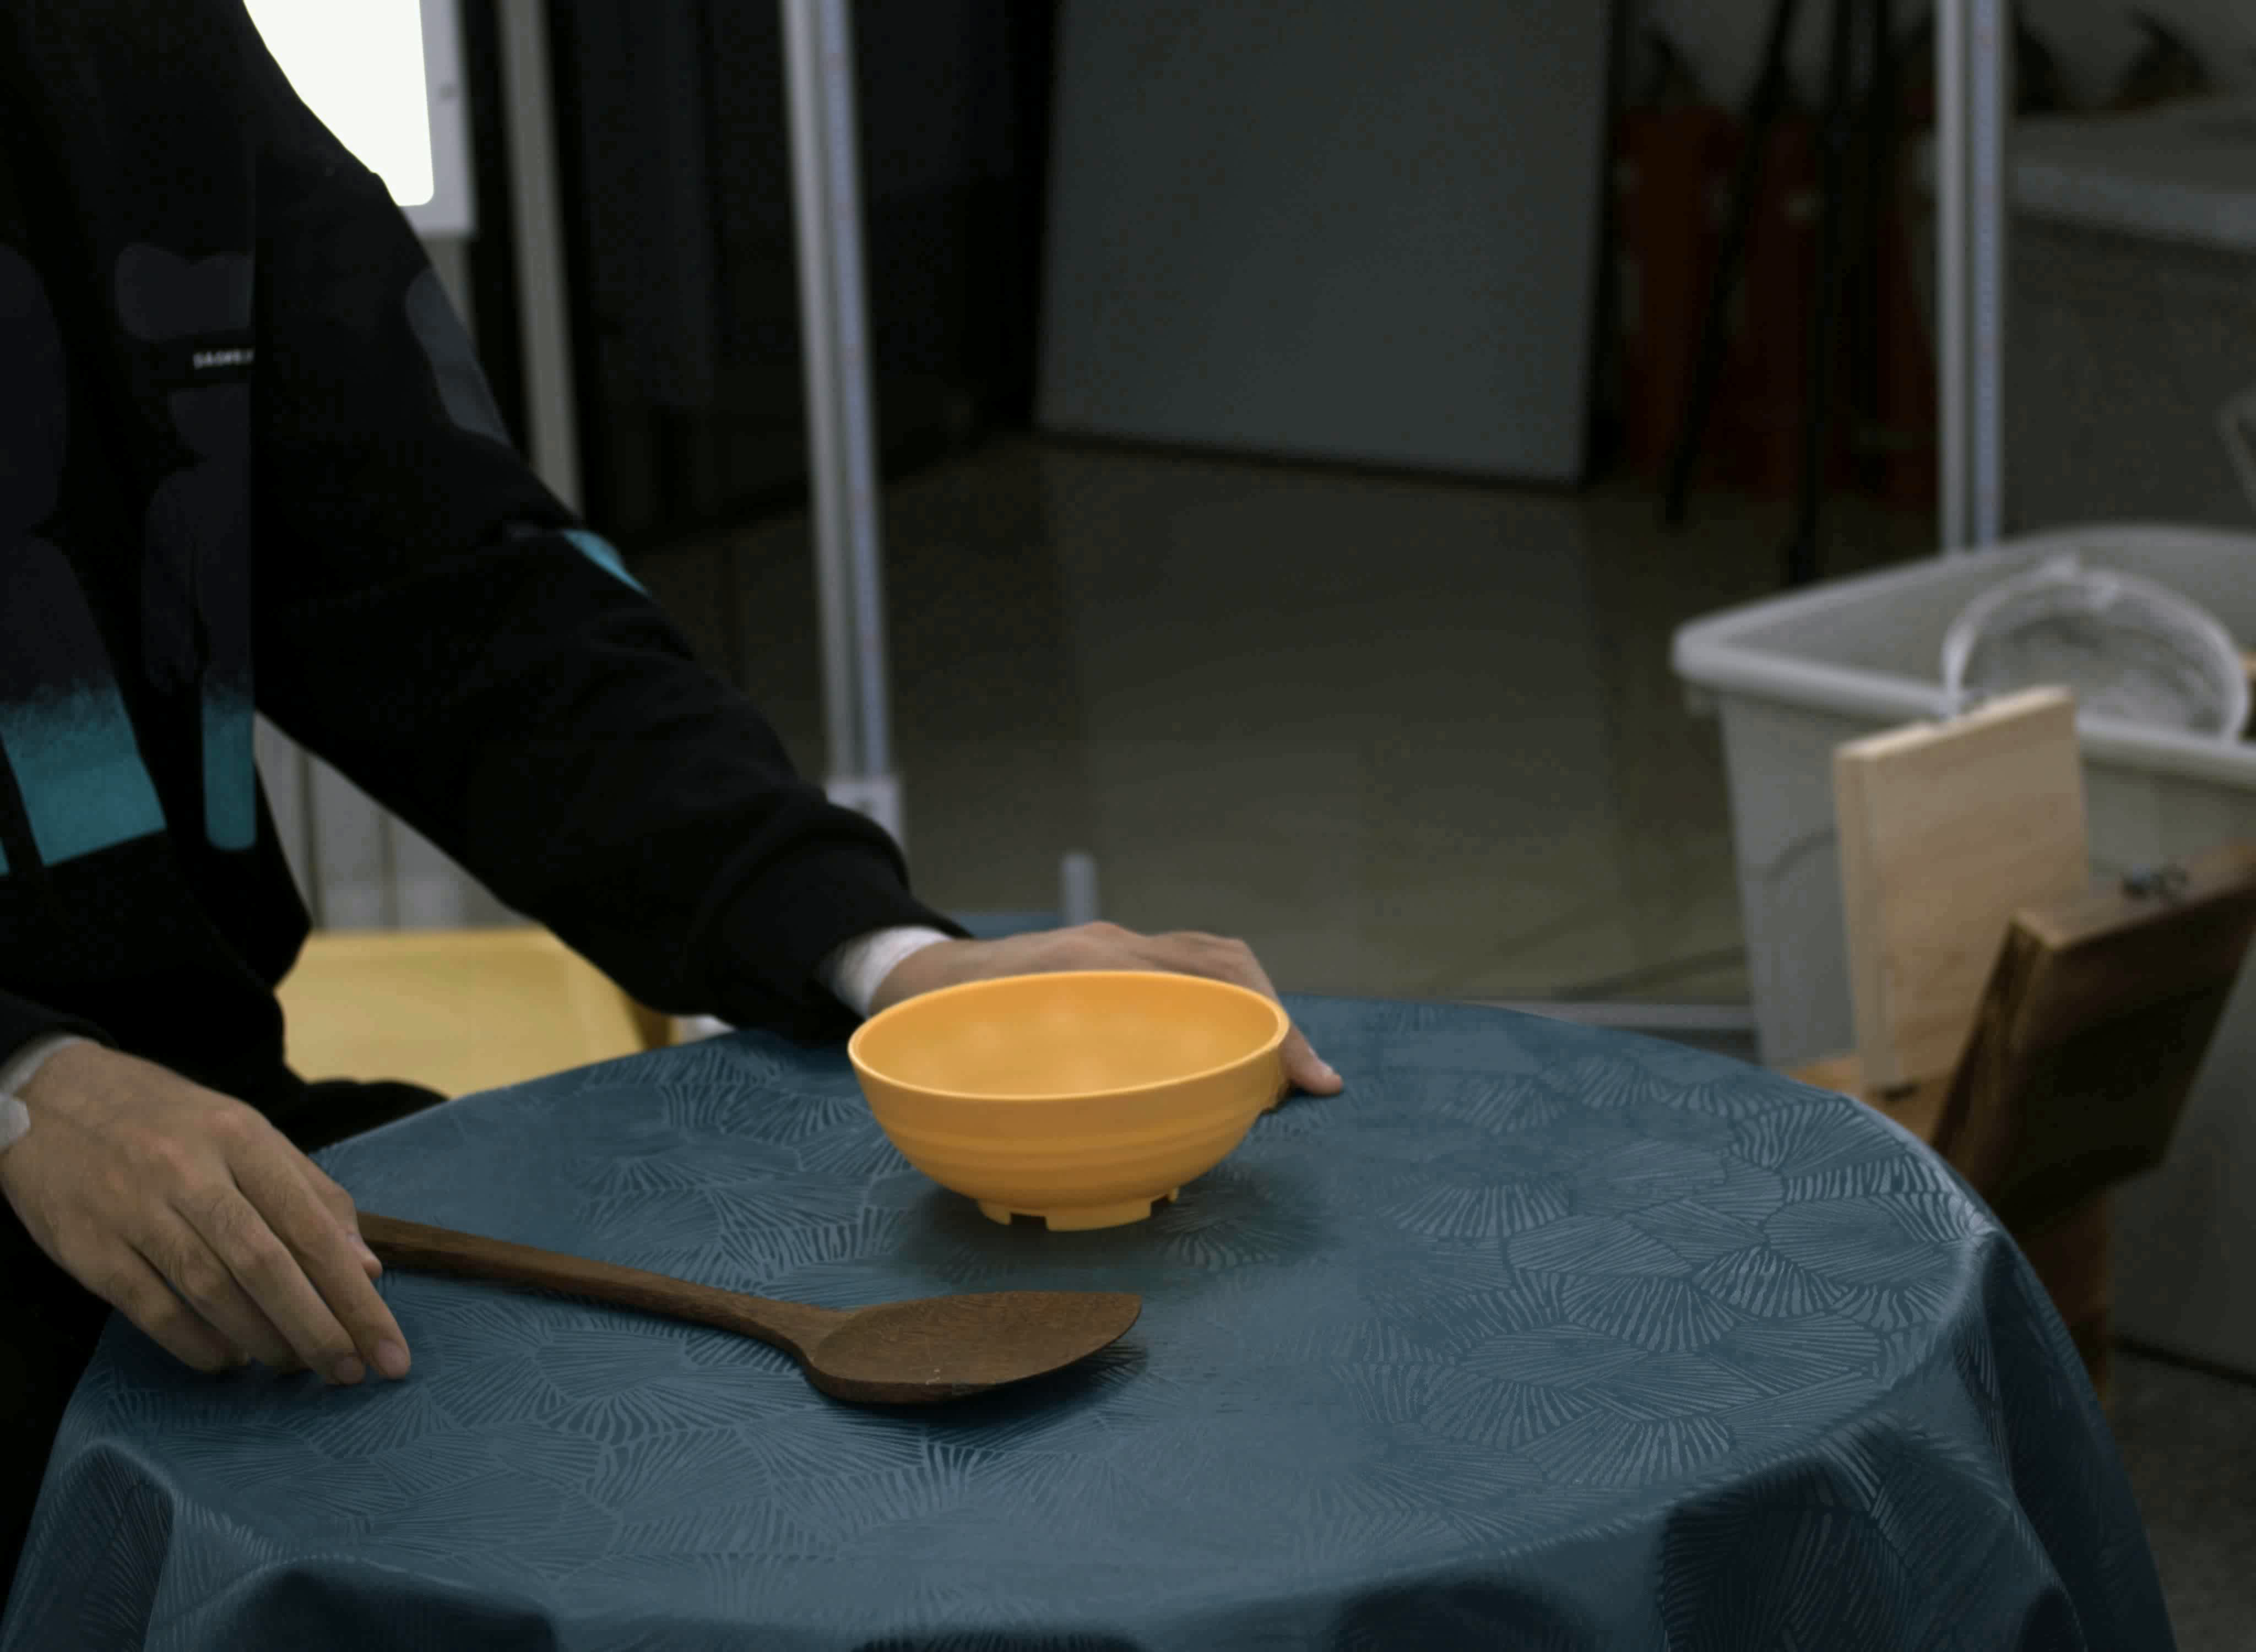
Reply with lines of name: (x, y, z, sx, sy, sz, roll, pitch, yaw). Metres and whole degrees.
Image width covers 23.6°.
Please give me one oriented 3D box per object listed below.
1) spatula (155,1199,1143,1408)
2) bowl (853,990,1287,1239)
spatula: (-0.166, 0.145, 1.697, 0.388, 0.016, 0.094, 6, 17, 36)
bowl: (-0.017, 0.097, 1.757, 0.143, 0.061, 0.145, -4, 11, 0)
